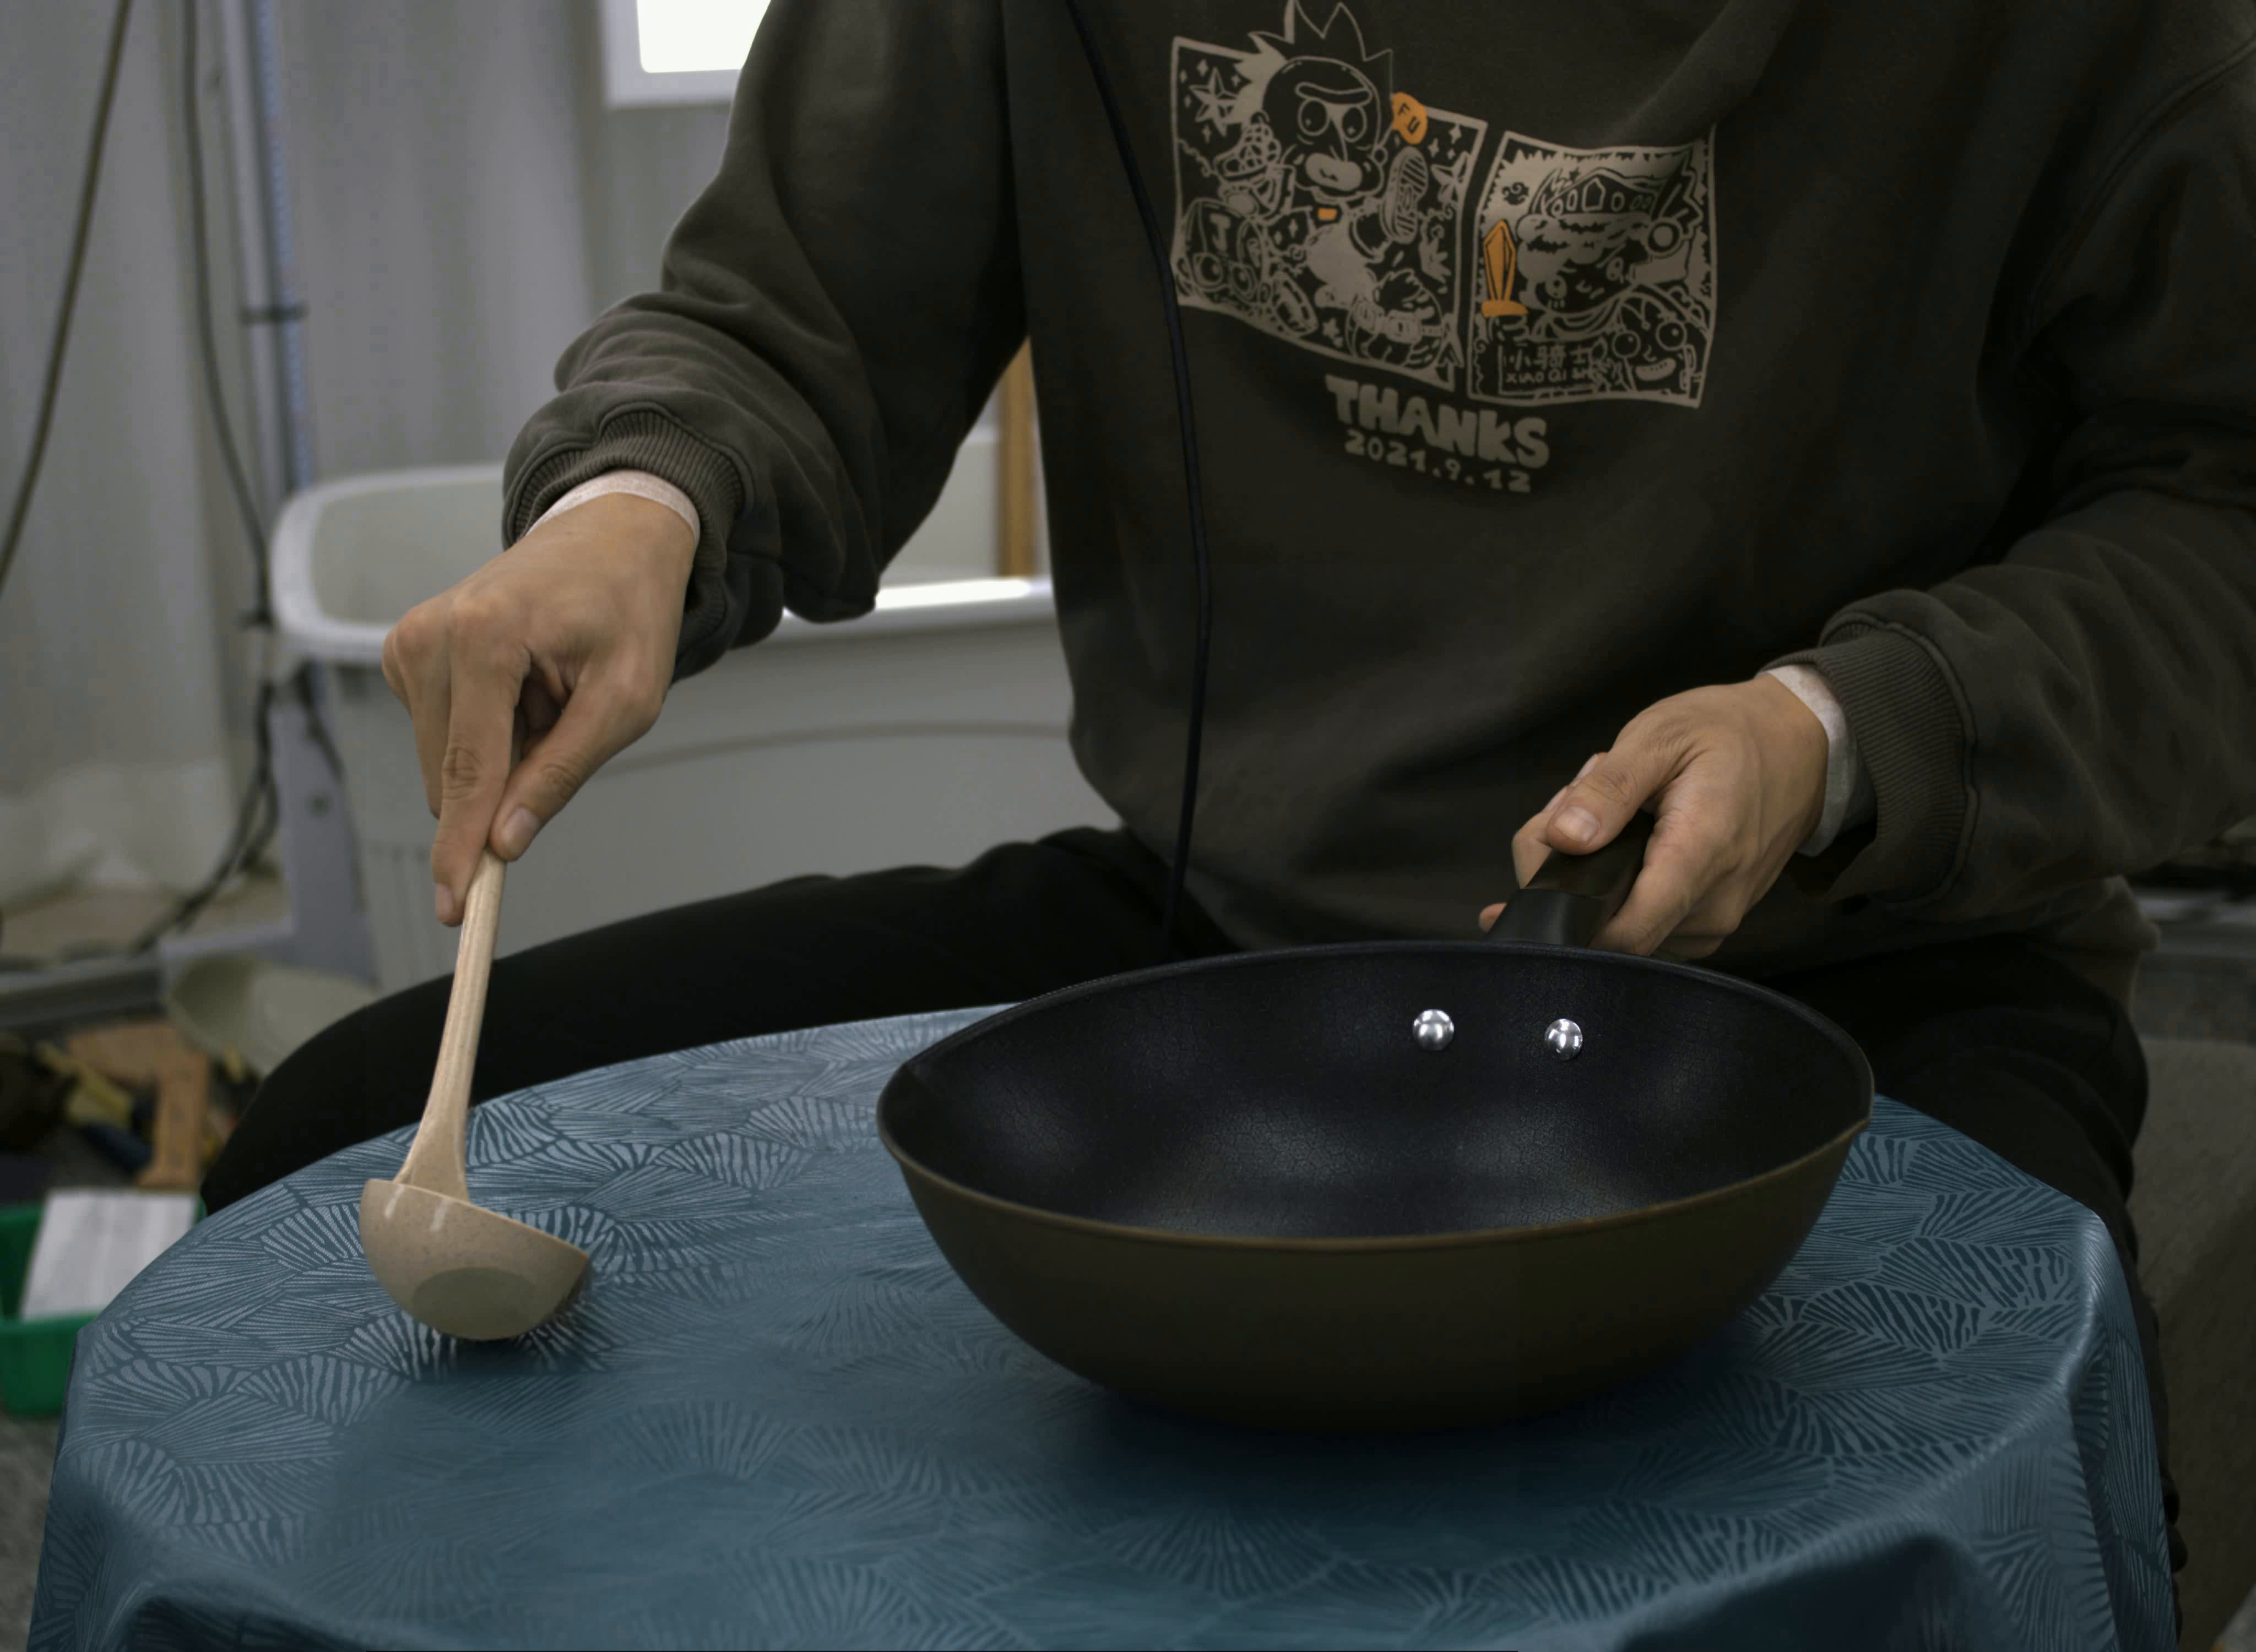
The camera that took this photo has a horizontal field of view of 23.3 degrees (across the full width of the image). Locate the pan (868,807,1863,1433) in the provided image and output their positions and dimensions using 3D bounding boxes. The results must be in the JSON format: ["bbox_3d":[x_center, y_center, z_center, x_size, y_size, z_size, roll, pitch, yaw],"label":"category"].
[{"bbox_3d":[0.099,0.086,1.648,0.288,0.086,0.464,2,15,20],"label":"pan"}]

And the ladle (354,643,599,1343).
[{"bbox_3d":[-0.189,0.036,1.665,0.071,0.258,0.072,22,-38,-29],"label":"ladle"}]
